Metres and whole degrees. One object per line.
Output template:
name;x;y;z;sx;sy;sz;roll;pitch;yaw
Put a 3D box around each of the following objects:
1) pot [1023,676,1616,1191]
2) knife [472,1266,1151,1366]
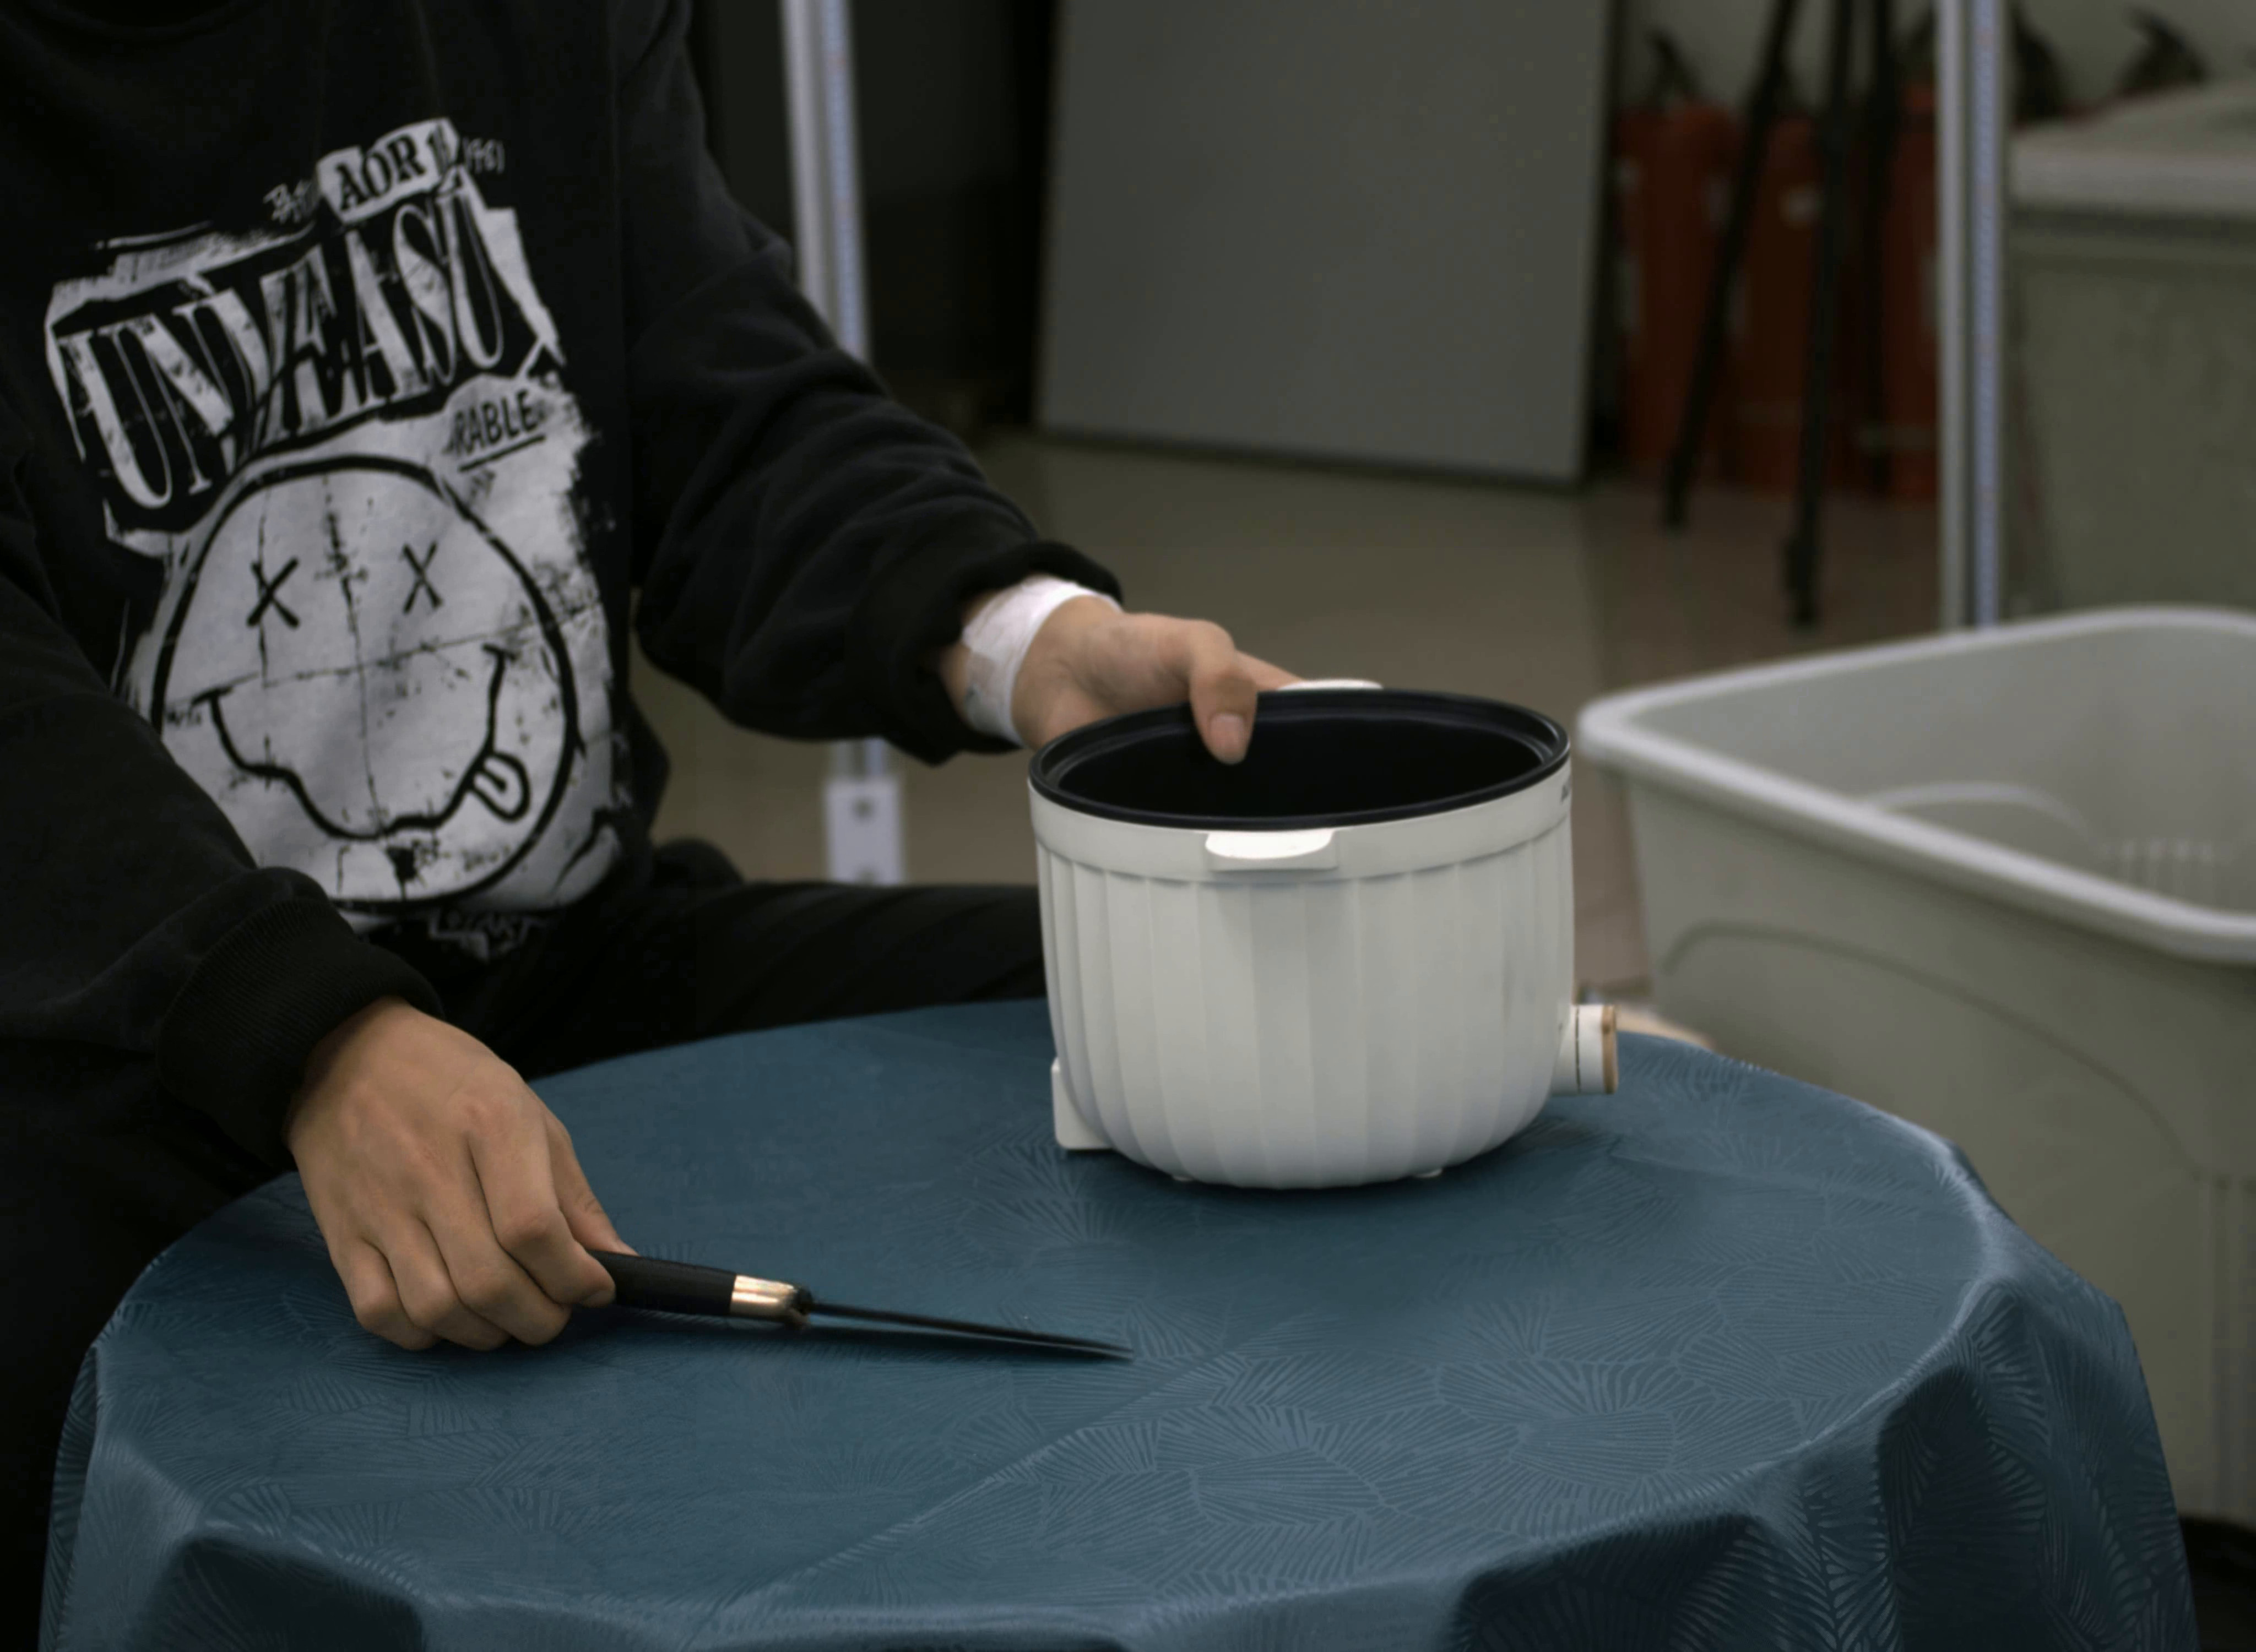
pot;0.065;0.038;1.800;0.189;0.144;0.240;-5;15;9
knife;-0.099;0.151;1.657;0.225;0.017;0.026;4;-19;22
